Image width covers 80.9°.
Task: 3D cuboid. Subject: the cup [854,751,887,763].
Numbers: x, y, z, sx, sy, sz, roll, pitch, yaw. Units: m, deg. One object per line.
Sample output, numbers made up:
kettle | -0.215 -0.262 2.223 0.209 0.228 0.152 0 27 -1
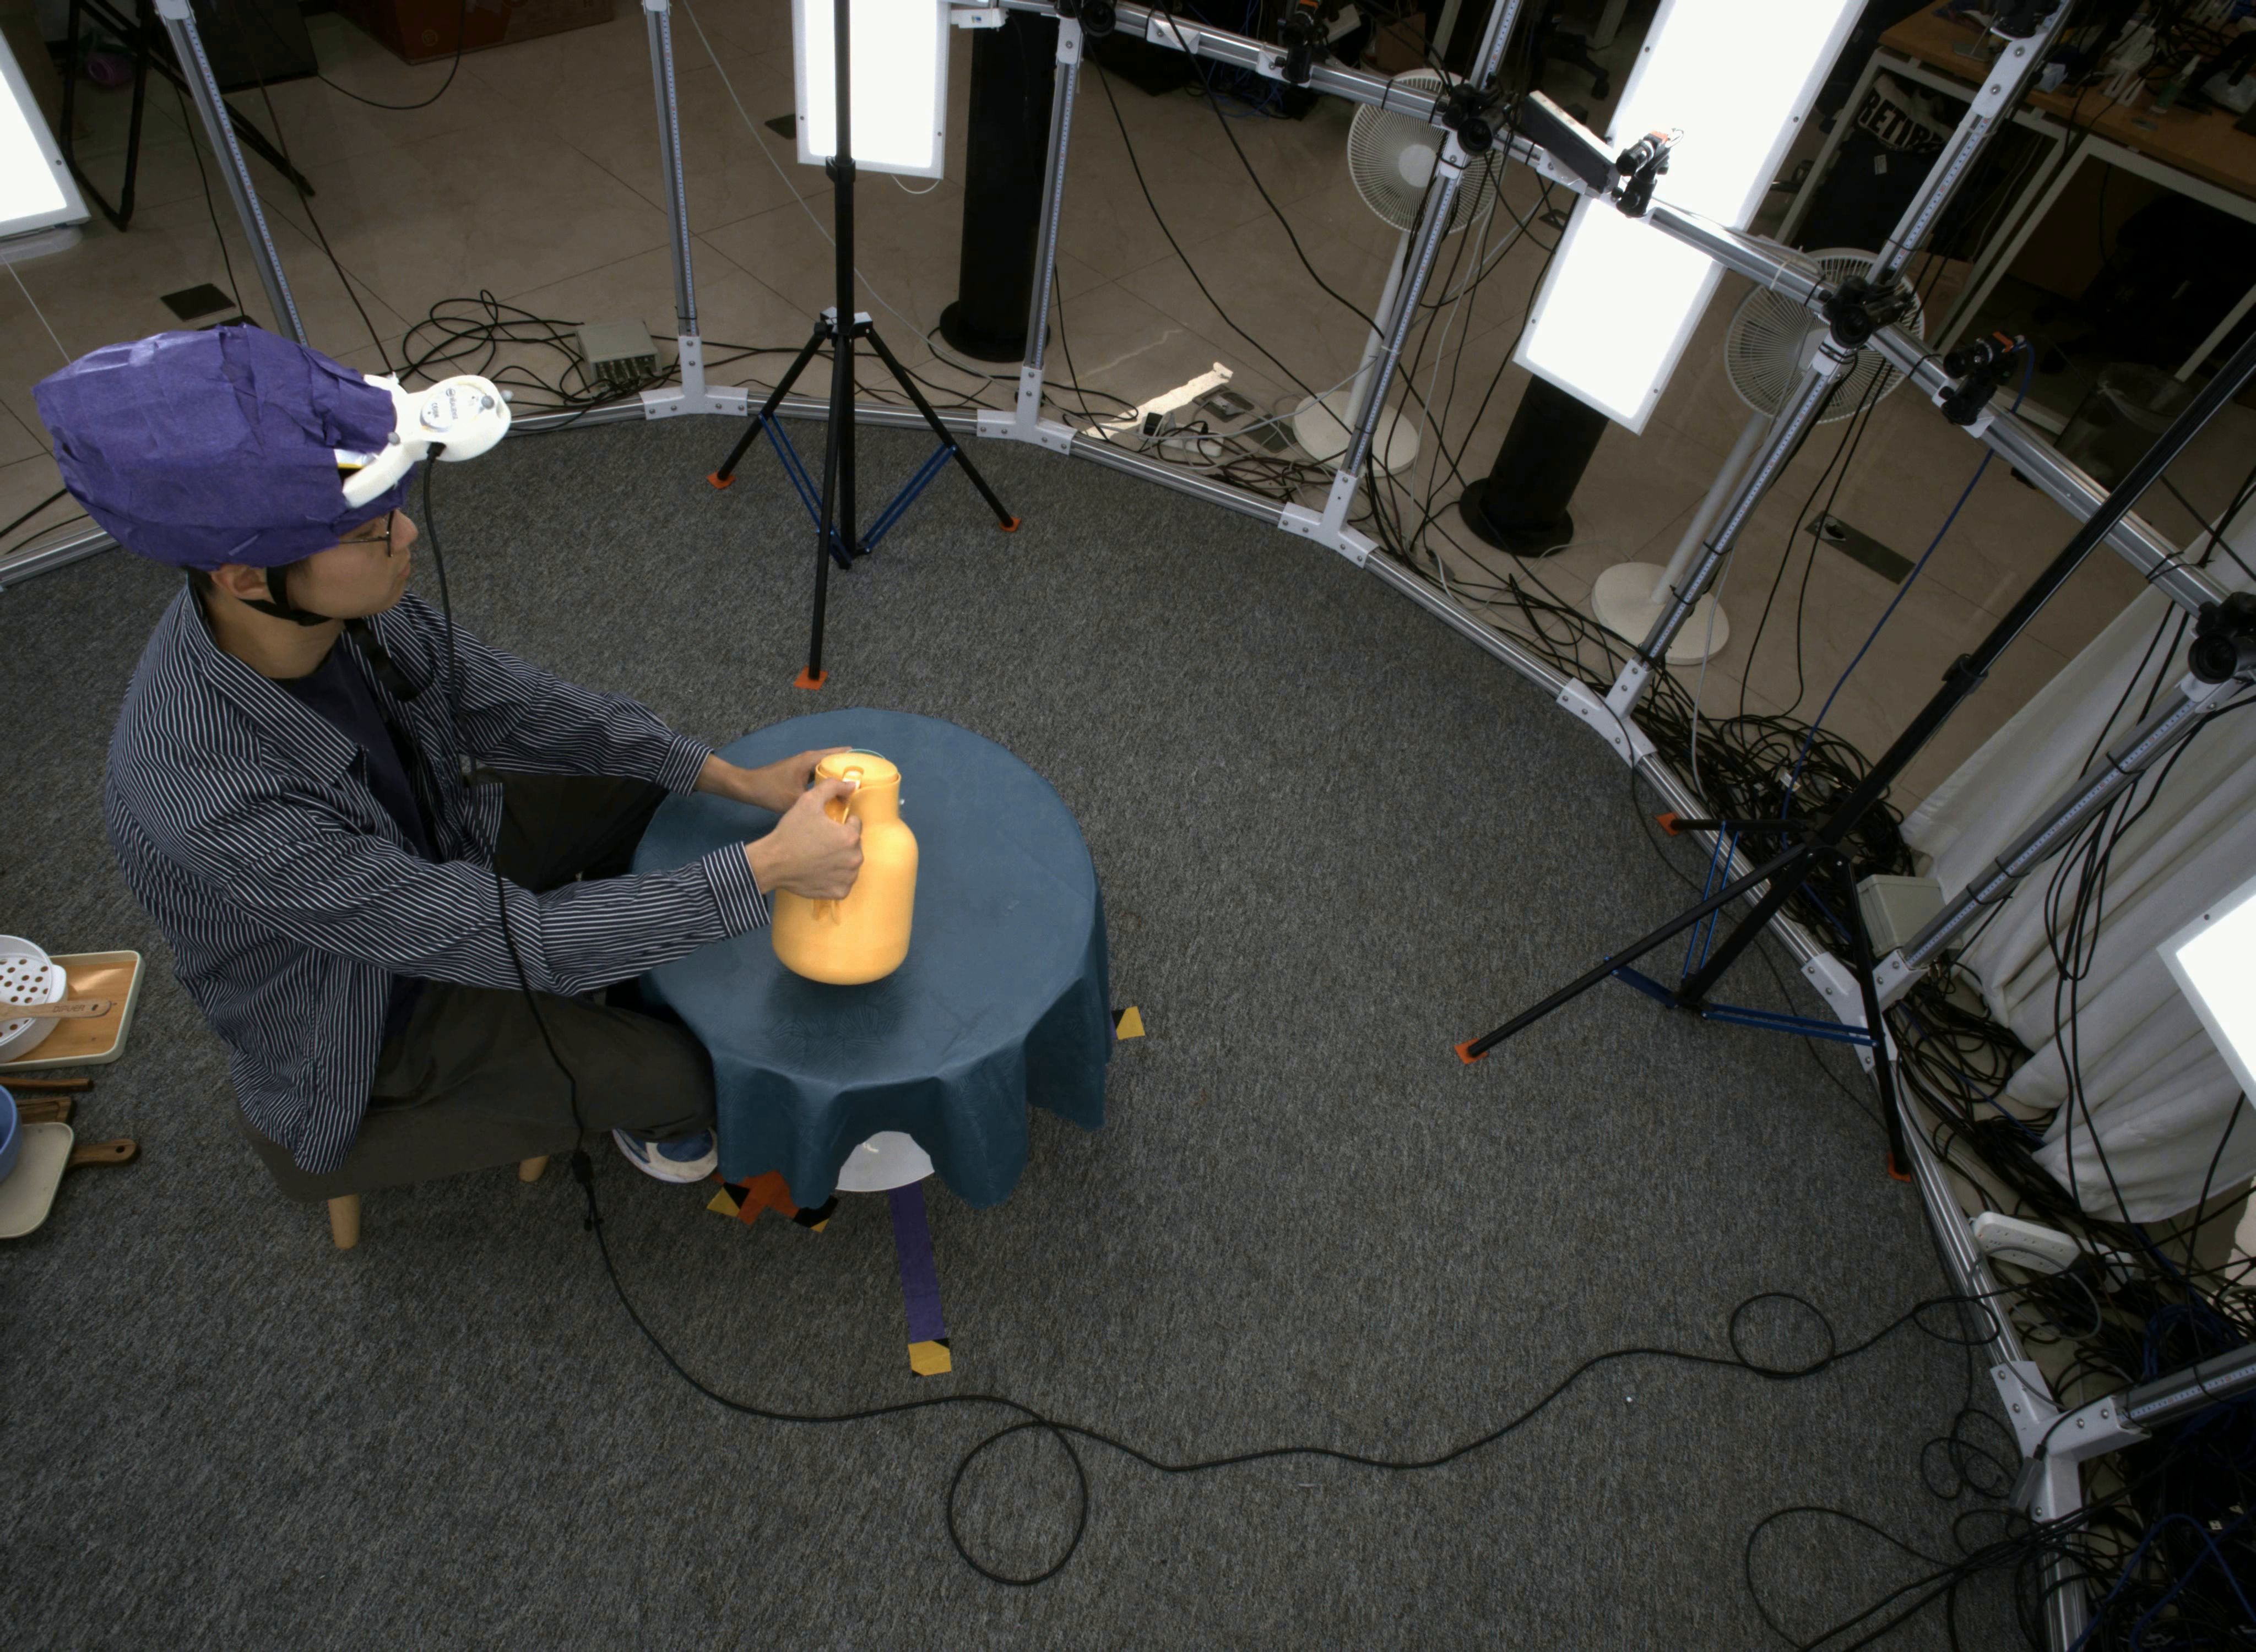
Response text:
cup | -0.344 -0.031 1.677 0.066 0.135 0.065 7 52 -7

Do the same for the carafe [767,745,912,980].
carafe | -0.339 0.044 1.516 0.162 0.267 0.199 8 20 -3
